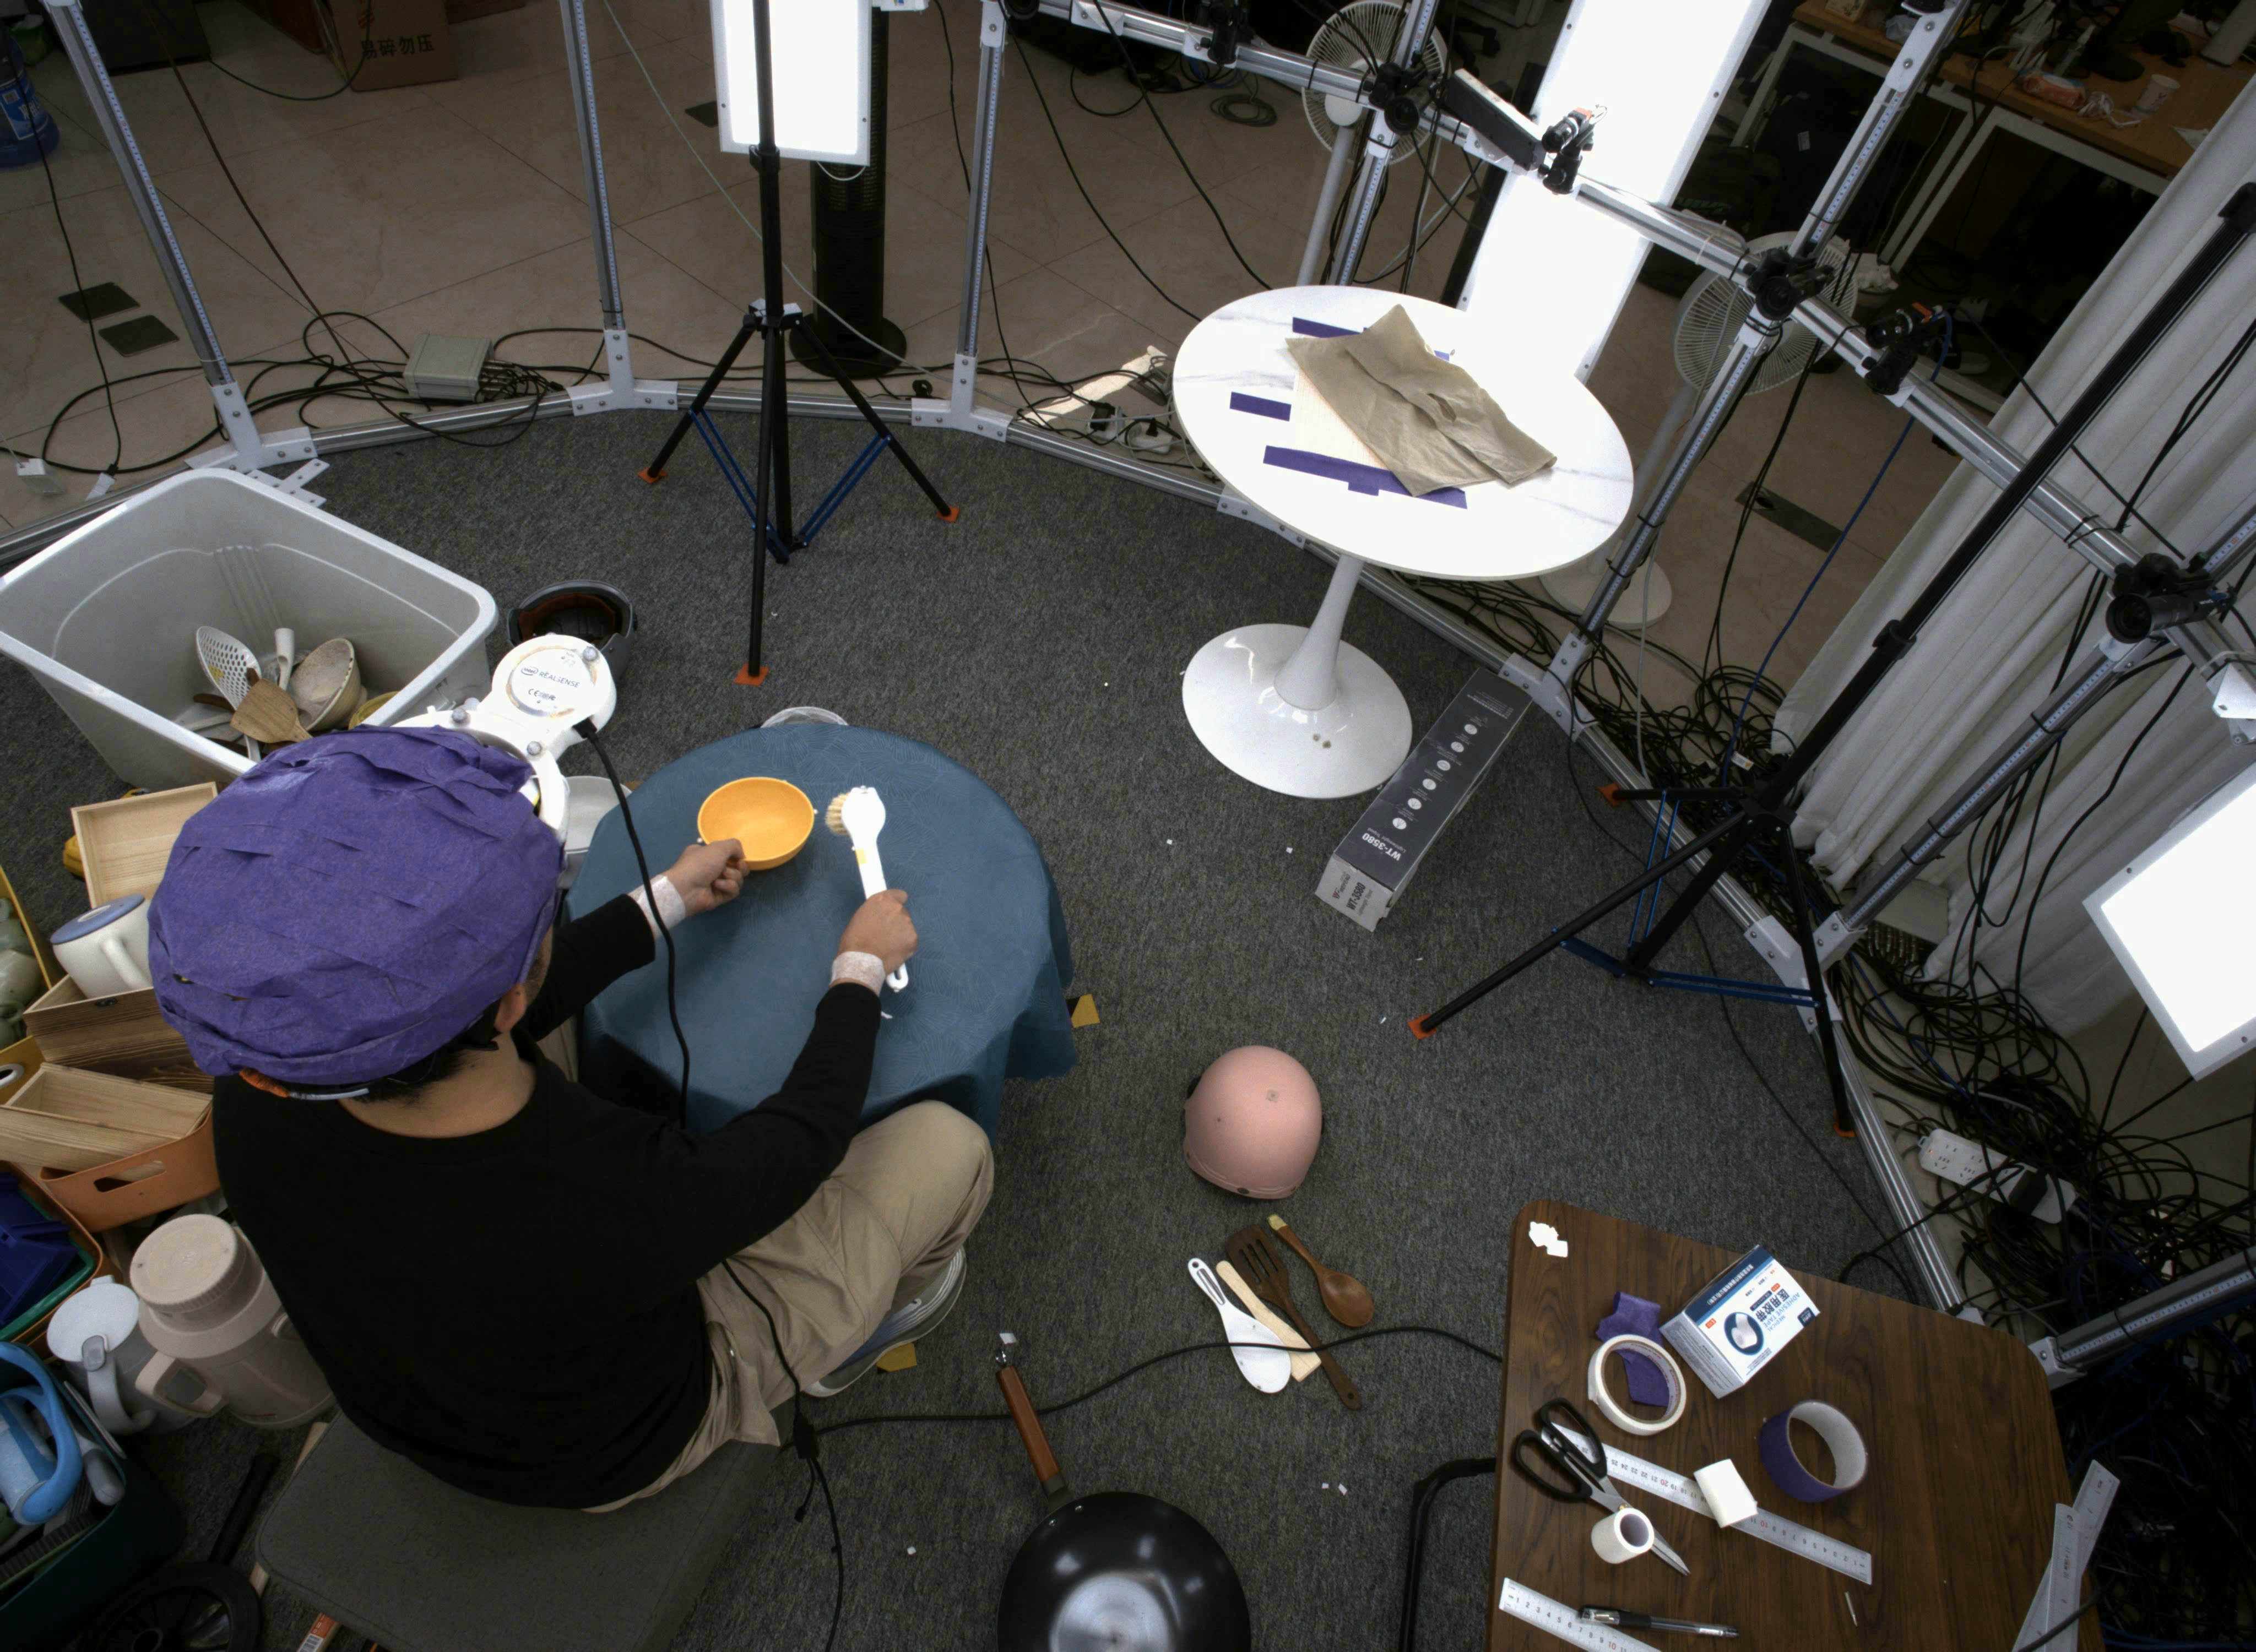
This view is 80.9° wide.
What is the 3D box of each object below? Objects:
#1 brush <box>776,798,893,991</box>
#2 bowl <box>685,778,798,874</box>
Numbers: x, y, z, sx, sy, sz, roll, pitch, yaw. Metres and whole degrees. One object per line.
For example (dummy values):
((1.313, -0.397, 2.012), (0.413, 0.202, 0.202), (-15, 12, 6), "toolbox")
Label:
((-0.356, 0.088, 1.587), (0.069, 0.056, 0.264), (-19, 76, -33), "brush")
((-0.489, 0.010, 1.654), (0.144, 0.061, 0.142), (6, 50, -6), "bowl")
